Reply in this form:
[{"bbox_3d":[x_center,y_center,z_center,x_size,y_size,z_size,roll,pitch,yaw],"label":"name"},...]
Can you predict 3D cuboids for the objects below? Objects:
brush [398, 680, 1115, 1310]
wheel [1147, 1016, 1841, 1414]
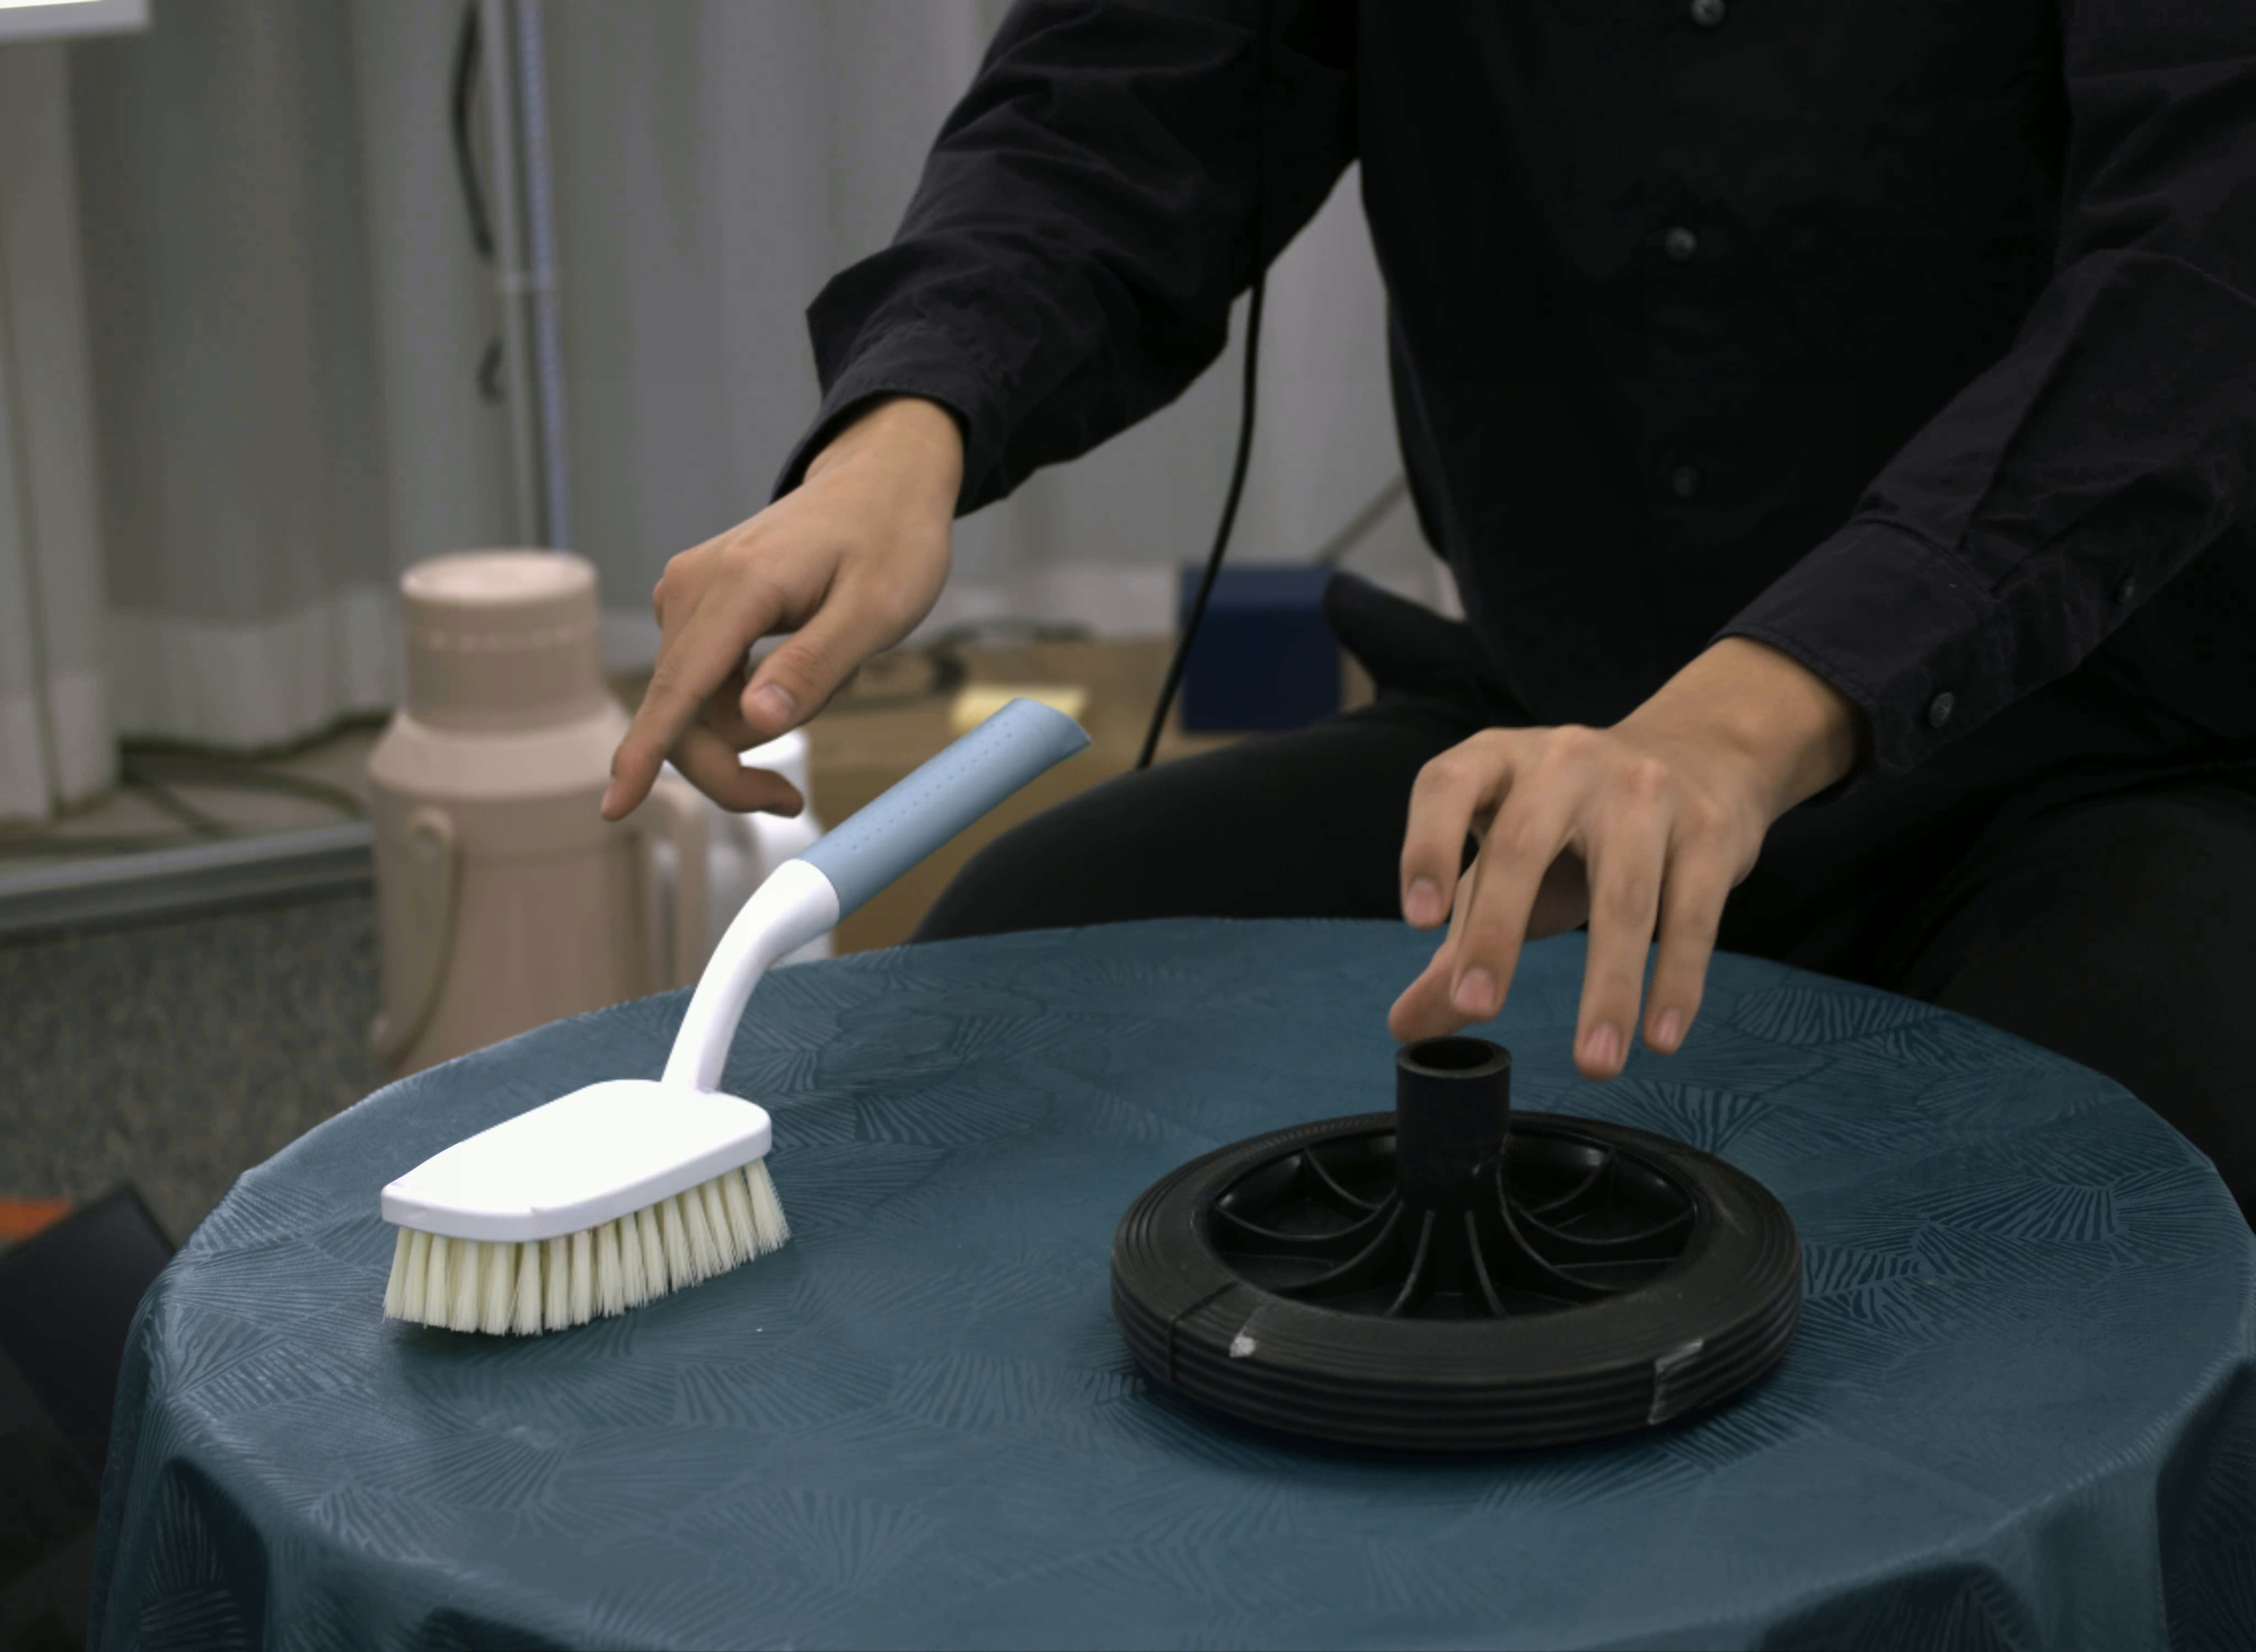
[{"bbox_3d":[-0.095,0.064,1.581,0.084,0.085,0.320,41,46,13],"label":"brush"},{"bbox_3d":[0.099,0.094,1.441,0.193,0.079,0.185,5,20,25],"label":"wheel"}]
